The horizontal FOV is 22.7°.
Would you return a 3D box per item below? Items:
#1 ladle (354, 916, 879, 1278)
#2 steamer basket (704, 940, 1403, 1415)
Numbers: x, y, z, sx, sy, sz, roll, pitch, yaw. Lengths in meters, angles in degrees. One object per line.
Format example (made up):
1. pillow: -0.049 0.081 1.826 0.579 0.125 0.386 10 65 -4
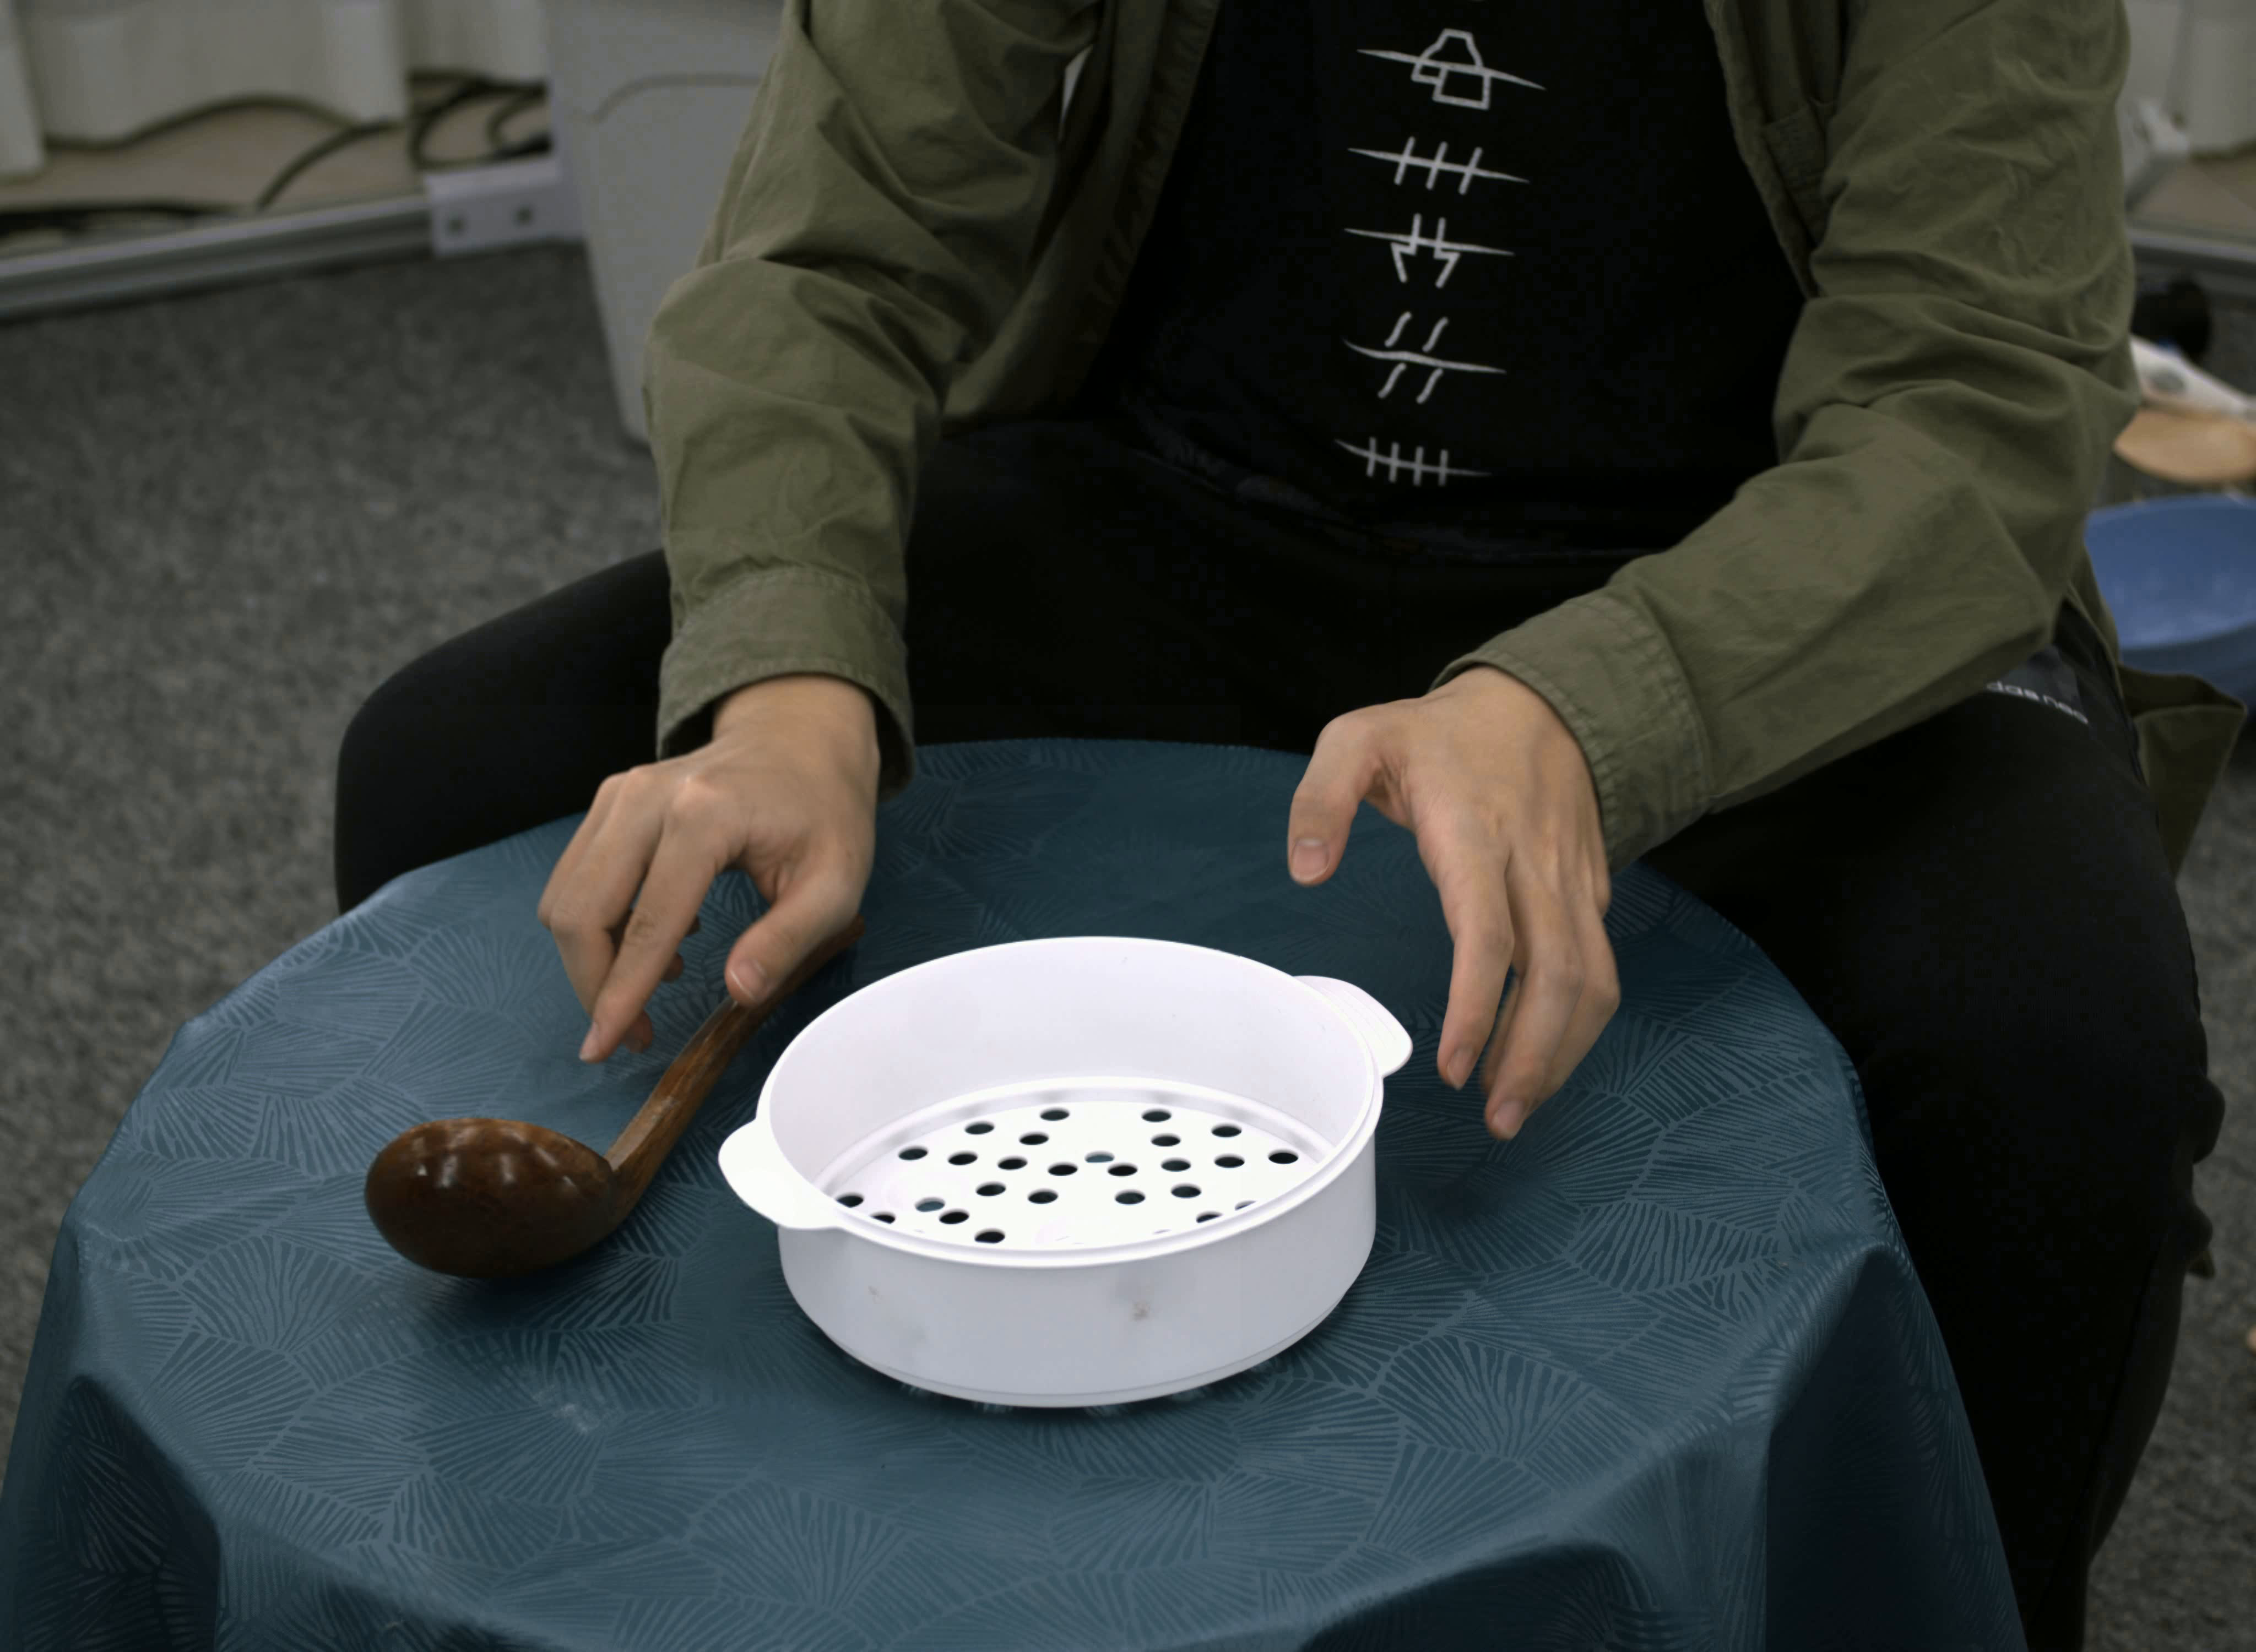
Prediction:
1. ladle: -0.168 0.072 1.893 0.081 0.076 0.279 -19 17 31
2. steamer basket: -0.022 0.113 1.802 0.231 0.068 0.203 -13 29 -20
